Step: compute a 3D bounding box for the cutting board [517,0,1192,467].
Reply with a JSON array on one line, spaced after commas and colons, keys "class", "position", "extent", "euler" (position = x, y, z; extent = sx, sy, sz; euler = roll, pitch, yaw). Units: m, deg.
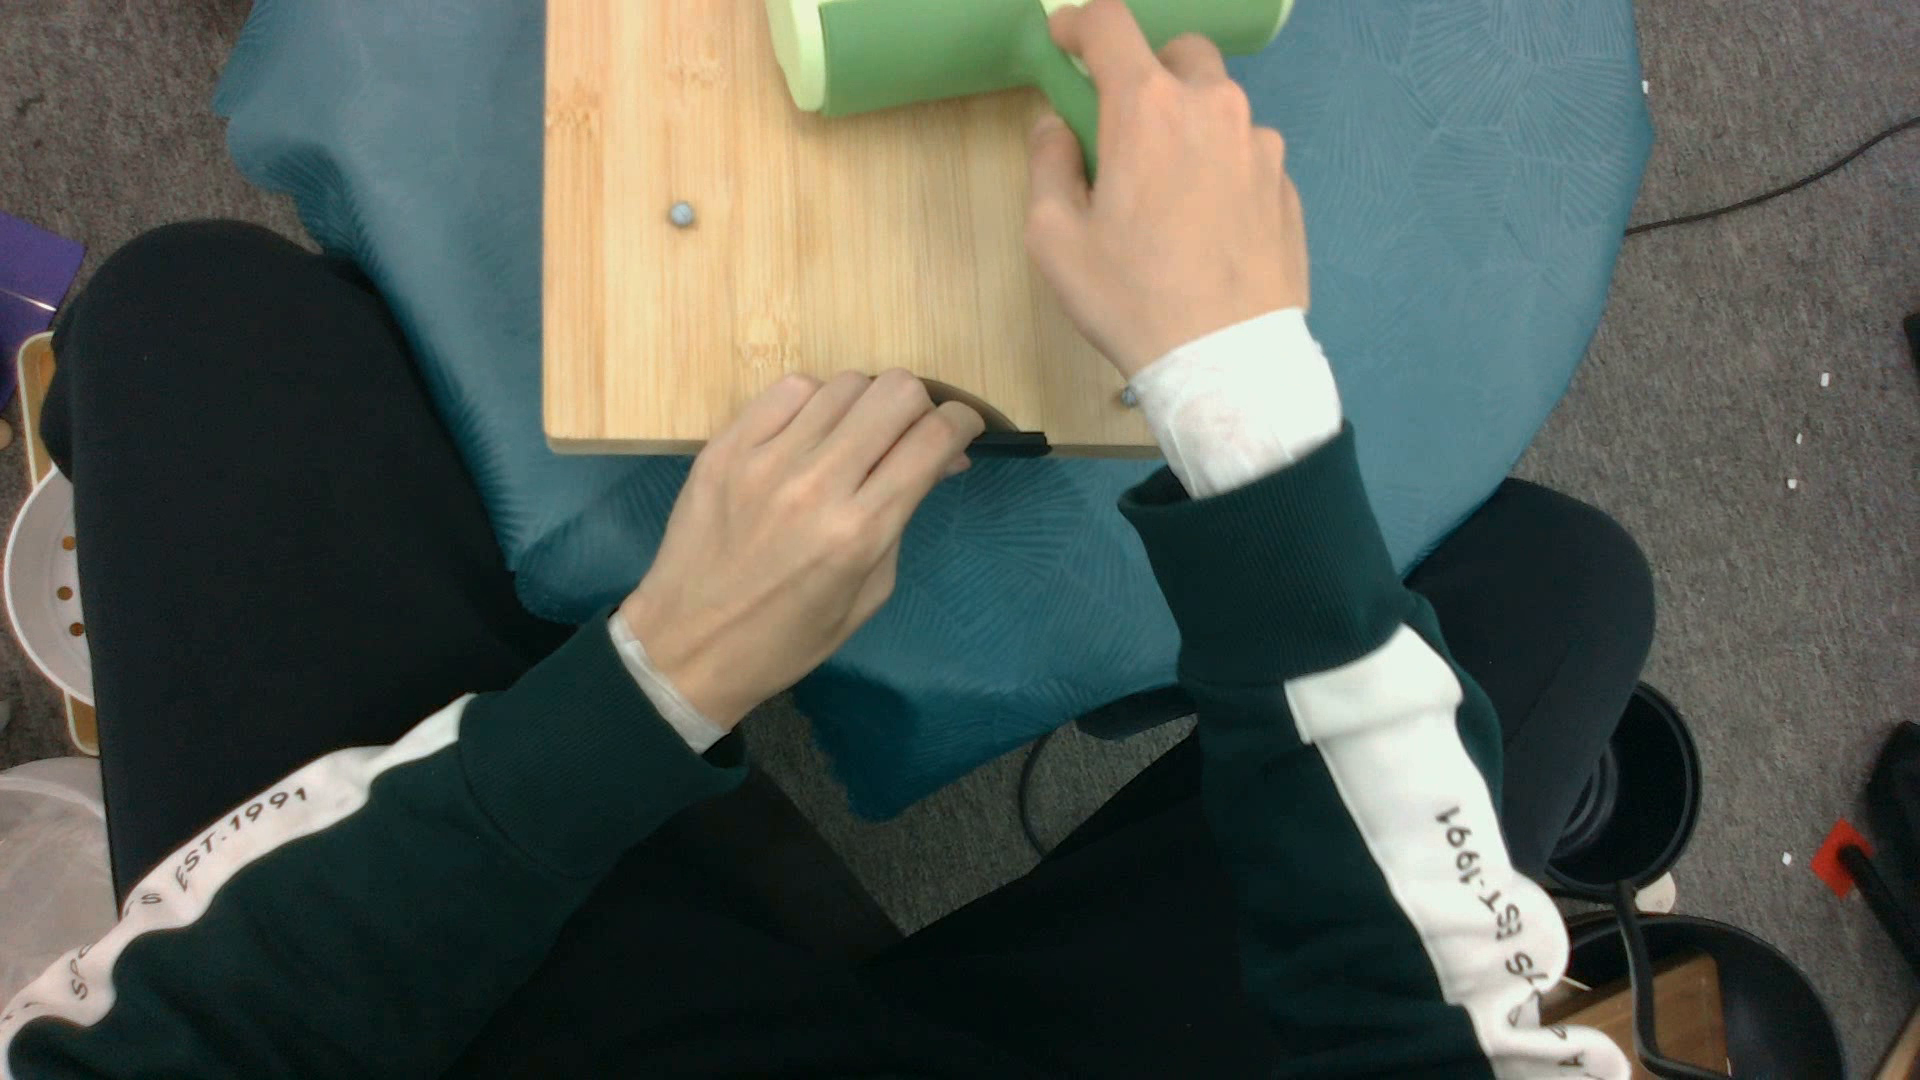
[{"class": "cutting board", "position": [-0.047, -0.196, 0.537], "extent": [0.251, 0.023, 0.349], "euler": [-3, 75, -15]}]

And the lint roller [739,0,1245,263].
[{"class": "lint roller", "position": [0.036, -0.179, 0.479], "extent": [0.199, 0.082, 0.184], "euler": [-14, 51, -17]}]
